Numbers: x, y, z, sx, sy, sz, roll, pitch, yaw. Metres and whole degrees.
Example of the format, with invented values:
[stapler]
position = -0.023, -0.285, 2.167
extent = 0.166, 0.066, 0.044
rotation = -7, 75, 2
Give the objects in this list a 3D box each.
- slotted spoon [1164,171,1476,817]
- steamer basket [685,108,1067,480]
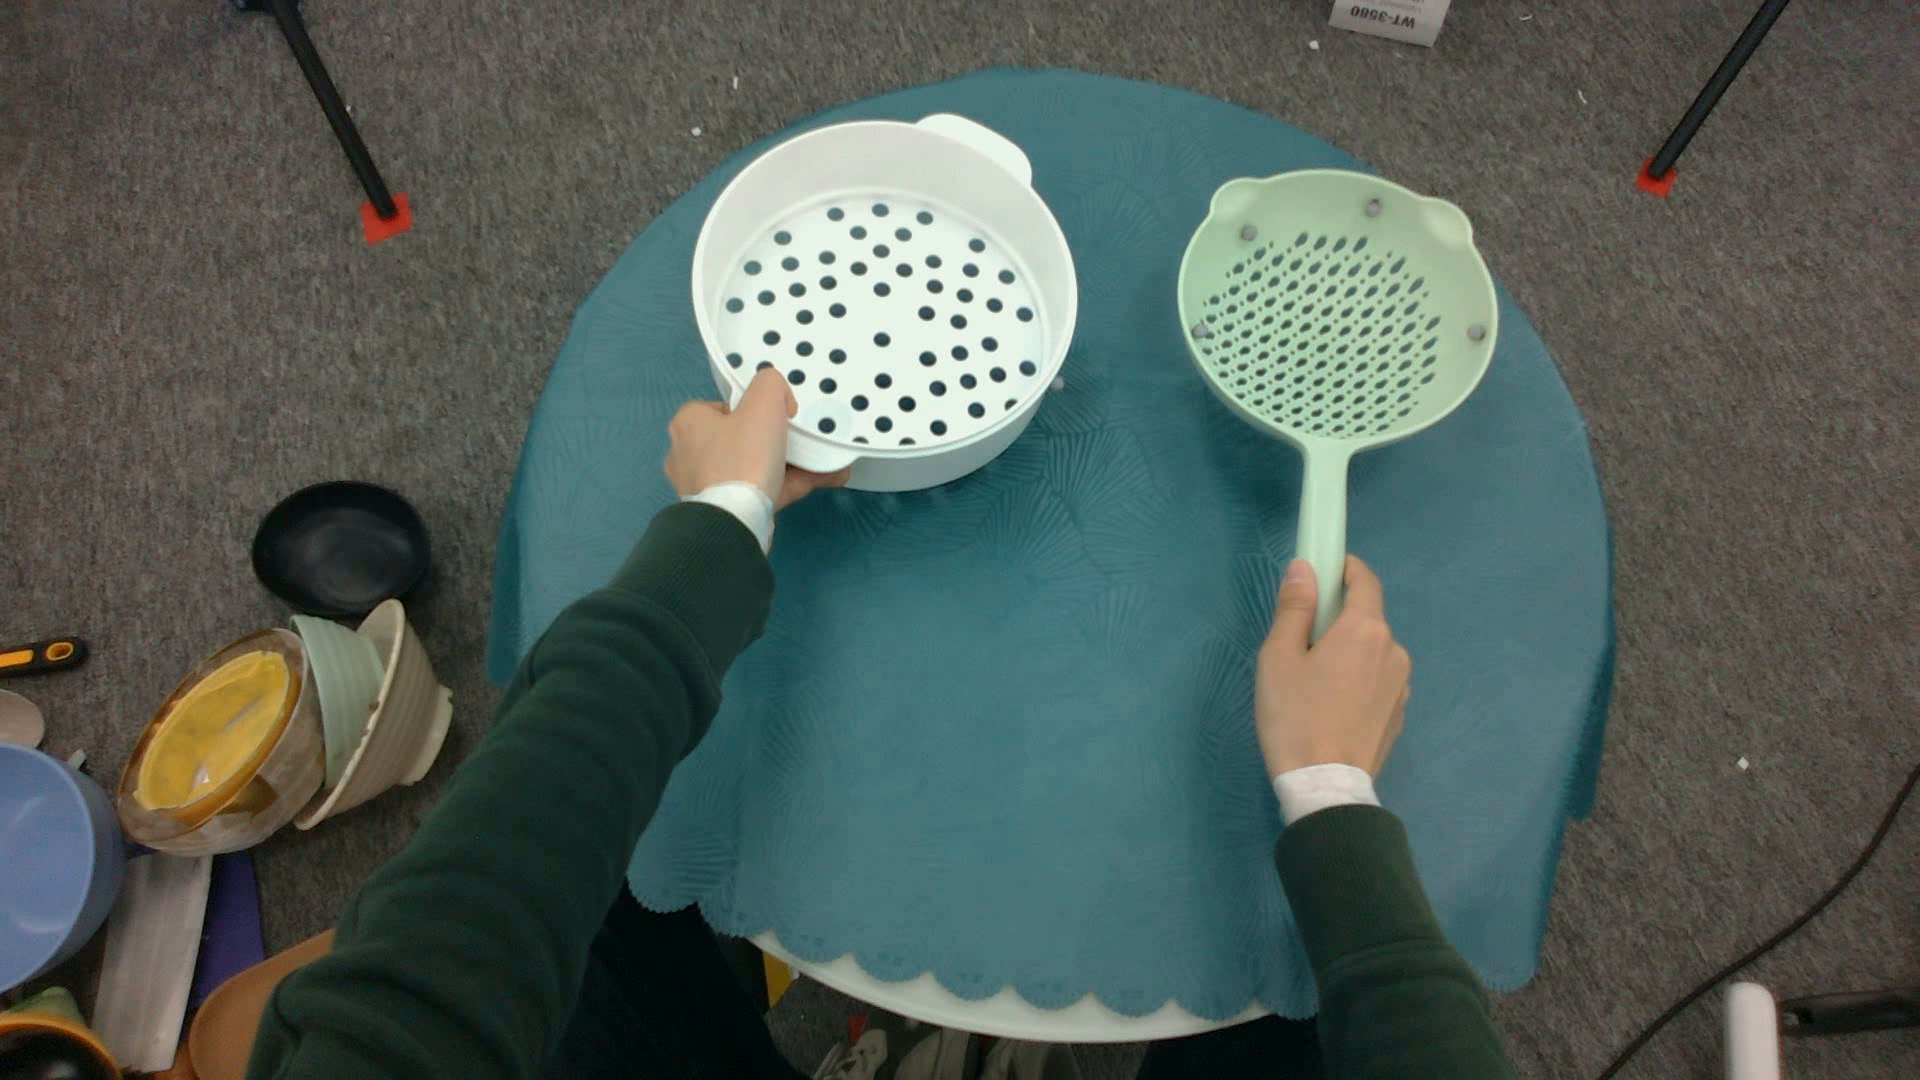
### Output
[slotted spoon]
position = 0.180, -0.039, 0.715
extent = 0.169, 0.075, 0.360
rotation = 8, 58, 4
[steamer basket]
position = -0.046, -0.130, 0.751
extent = 0.202, 0.069, 0.231
rotation = 27, 68, 4
